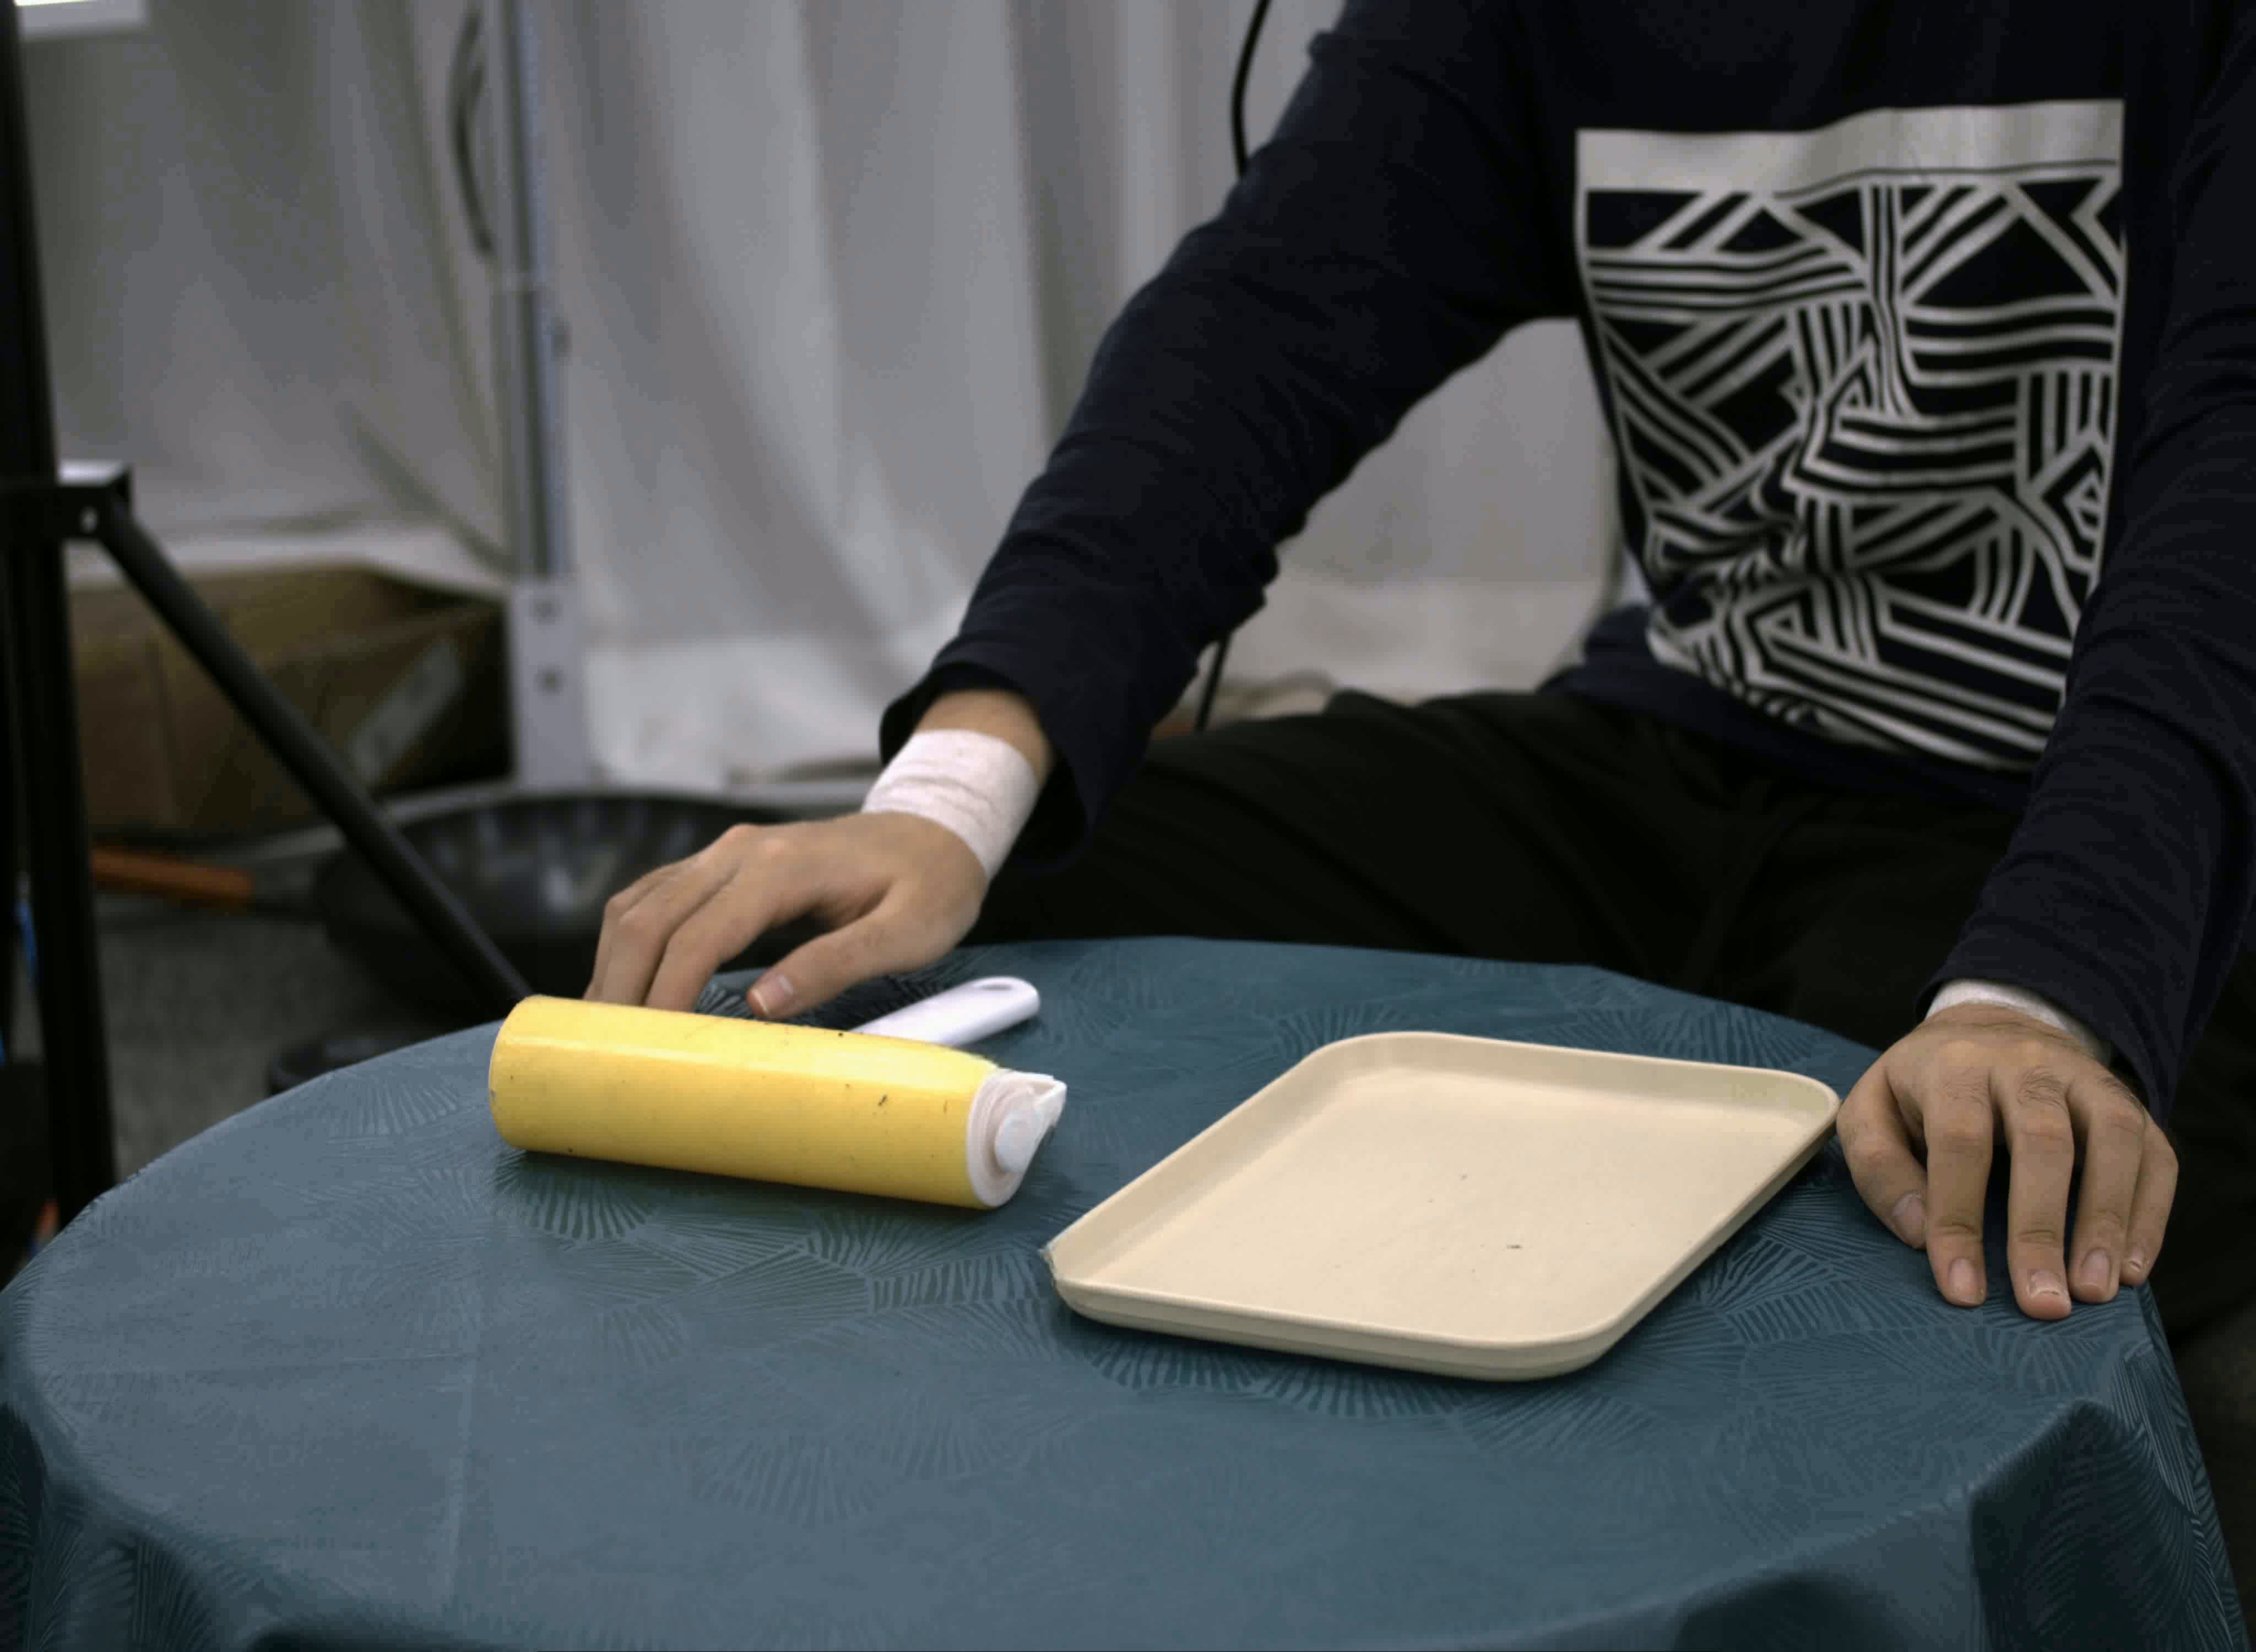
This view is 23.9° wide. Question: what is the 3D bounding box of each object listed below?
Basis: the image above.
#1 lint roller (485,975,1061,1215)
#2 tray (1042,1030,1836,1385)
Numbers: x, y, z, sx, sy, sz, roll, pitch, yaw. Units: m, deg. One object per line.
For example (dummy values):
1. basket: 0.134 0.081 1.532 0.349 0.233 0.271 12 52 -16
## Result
1. lint roller: -0.082 0.063 1.647 0.177 0.051 0.189 6 20 24
2. tray: 0.093 0.108 1.517 0.174 0.017 0.236 6 18 26
